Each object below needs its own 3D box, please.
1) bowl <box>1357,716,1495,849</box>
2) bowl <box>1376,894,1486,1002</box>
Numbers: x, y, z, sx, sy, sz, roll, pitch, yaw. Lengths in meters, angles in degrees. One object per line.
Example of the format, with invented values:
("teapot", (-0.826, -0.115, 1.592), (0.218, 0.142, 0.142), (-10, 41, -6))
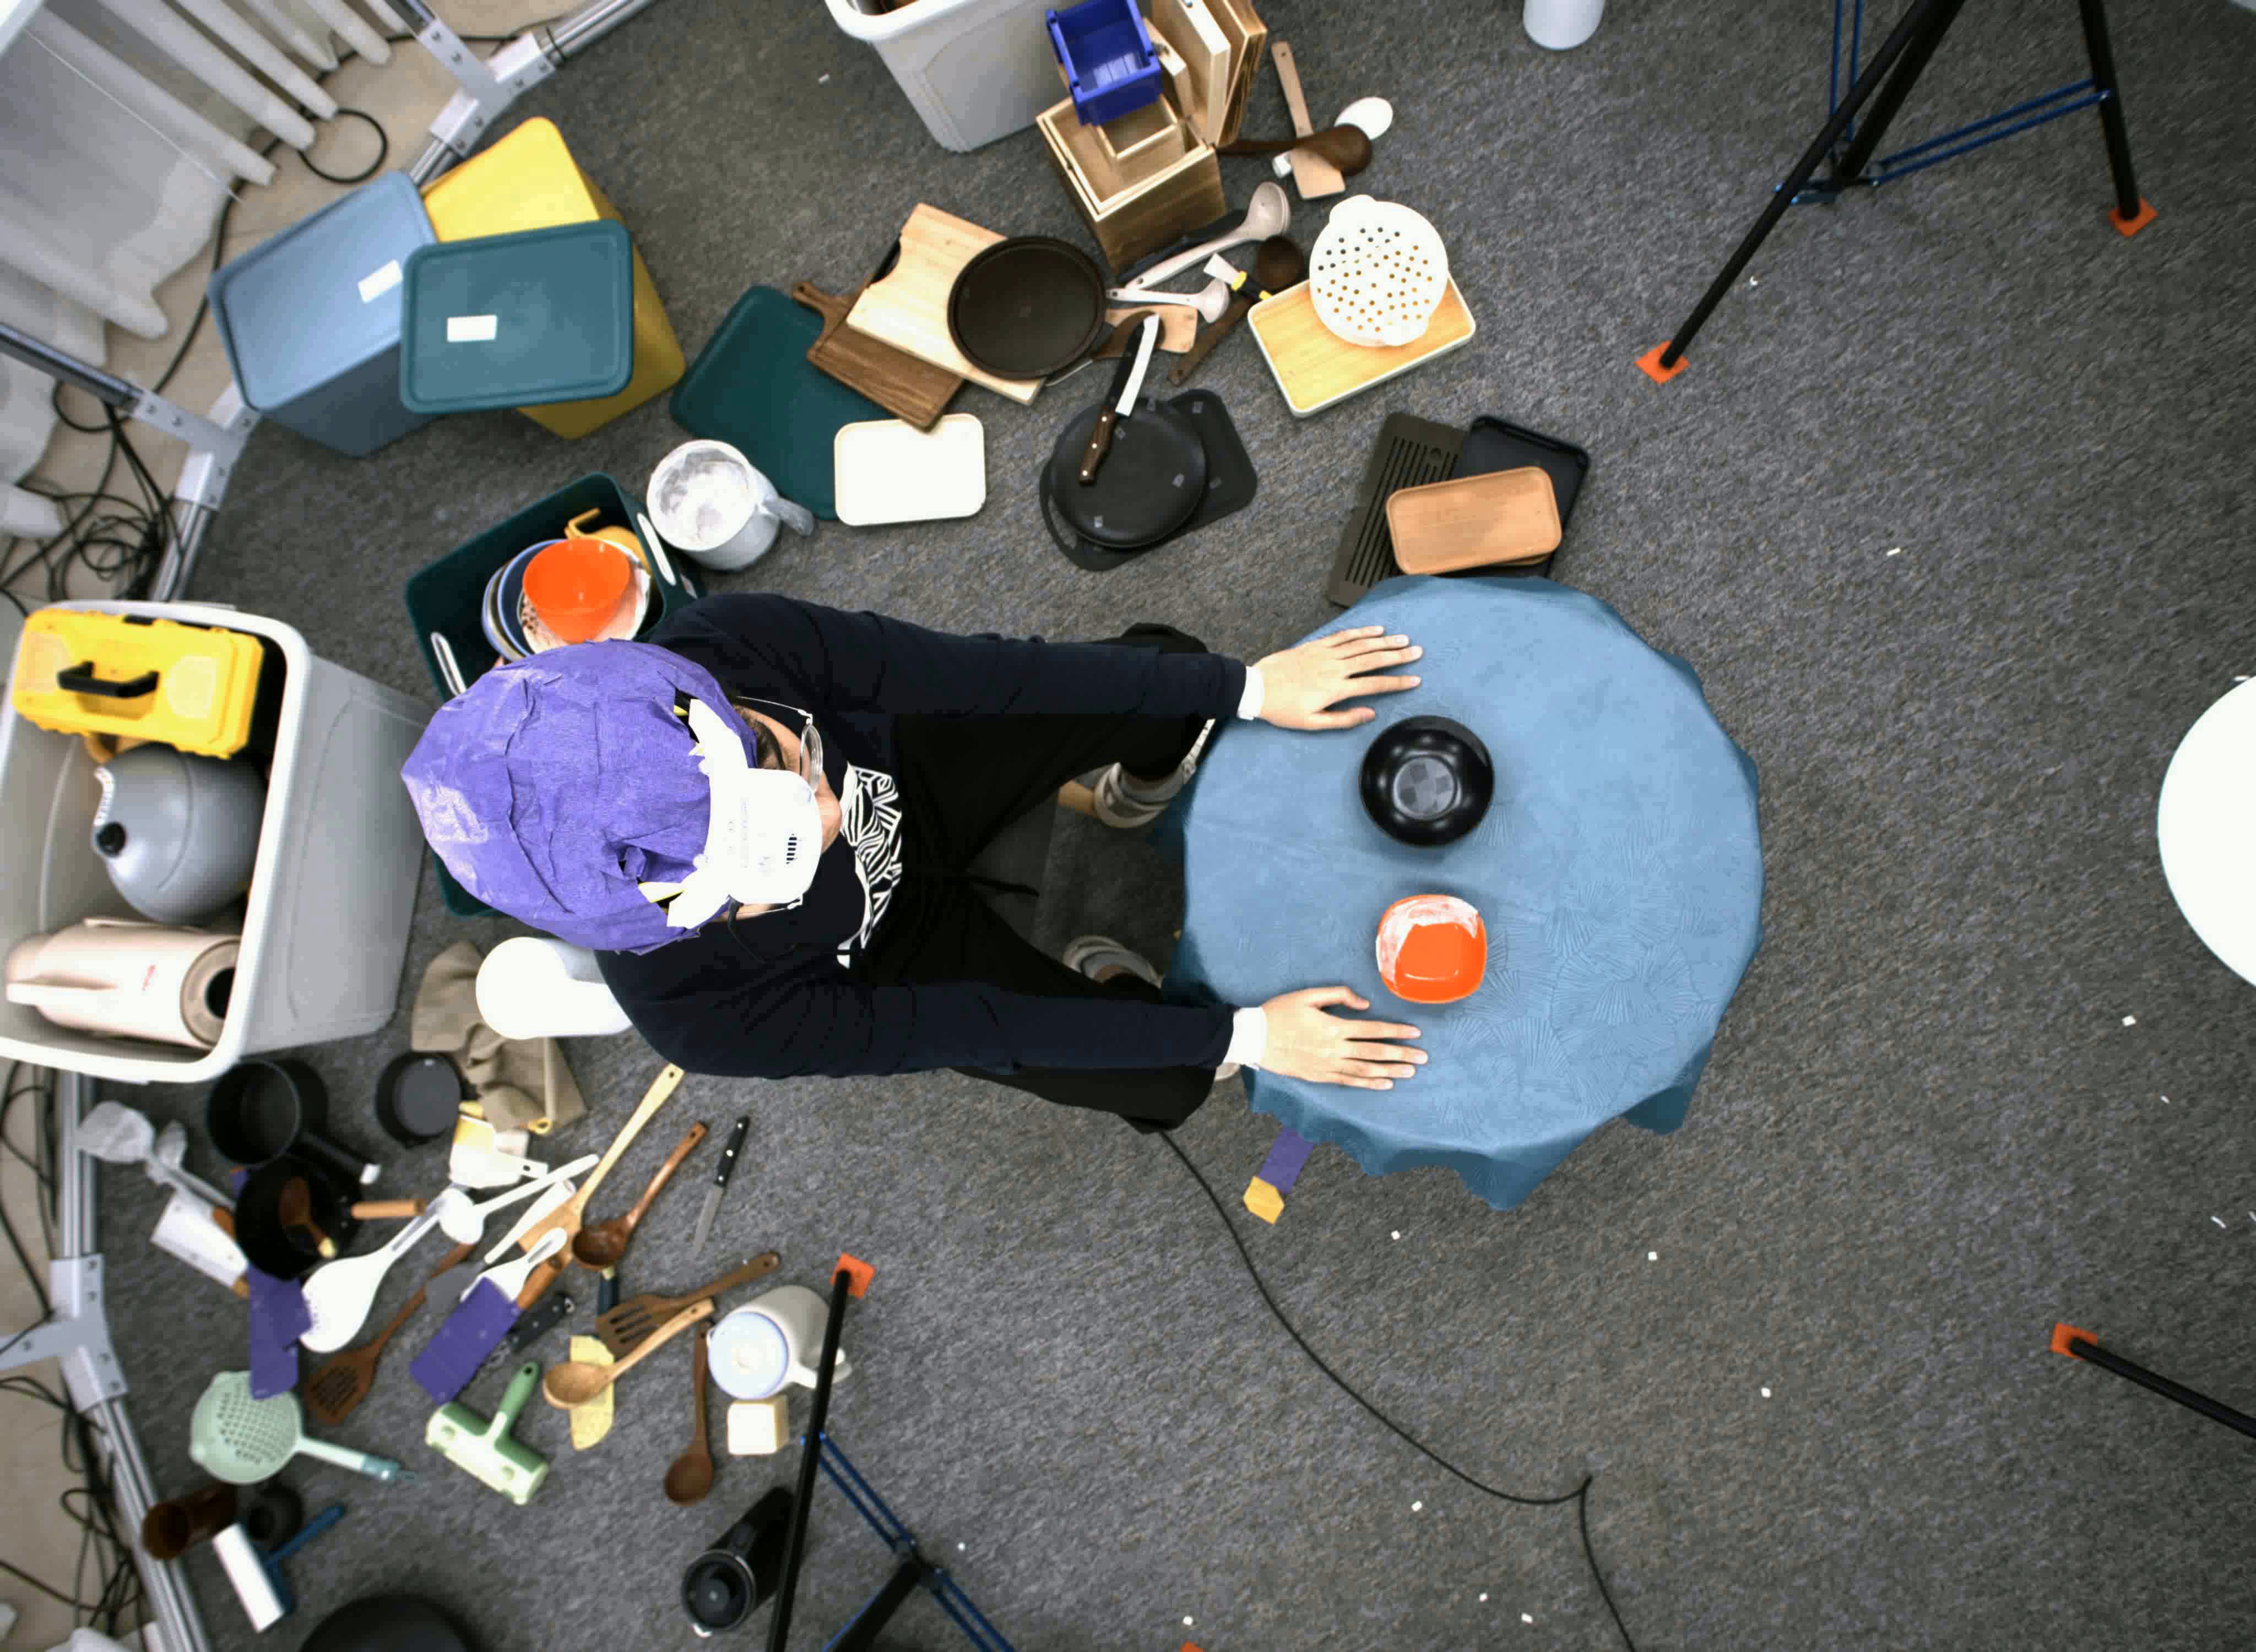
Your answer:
("bowl", (0.311, -0.045, 1.437), (0.141, 0.050, 0.139), (-1, 86, 15))
("bowl", (0.311, 0.124, 1.423), (0.119, 0.051, 0.118), (-1, 87, 9))
